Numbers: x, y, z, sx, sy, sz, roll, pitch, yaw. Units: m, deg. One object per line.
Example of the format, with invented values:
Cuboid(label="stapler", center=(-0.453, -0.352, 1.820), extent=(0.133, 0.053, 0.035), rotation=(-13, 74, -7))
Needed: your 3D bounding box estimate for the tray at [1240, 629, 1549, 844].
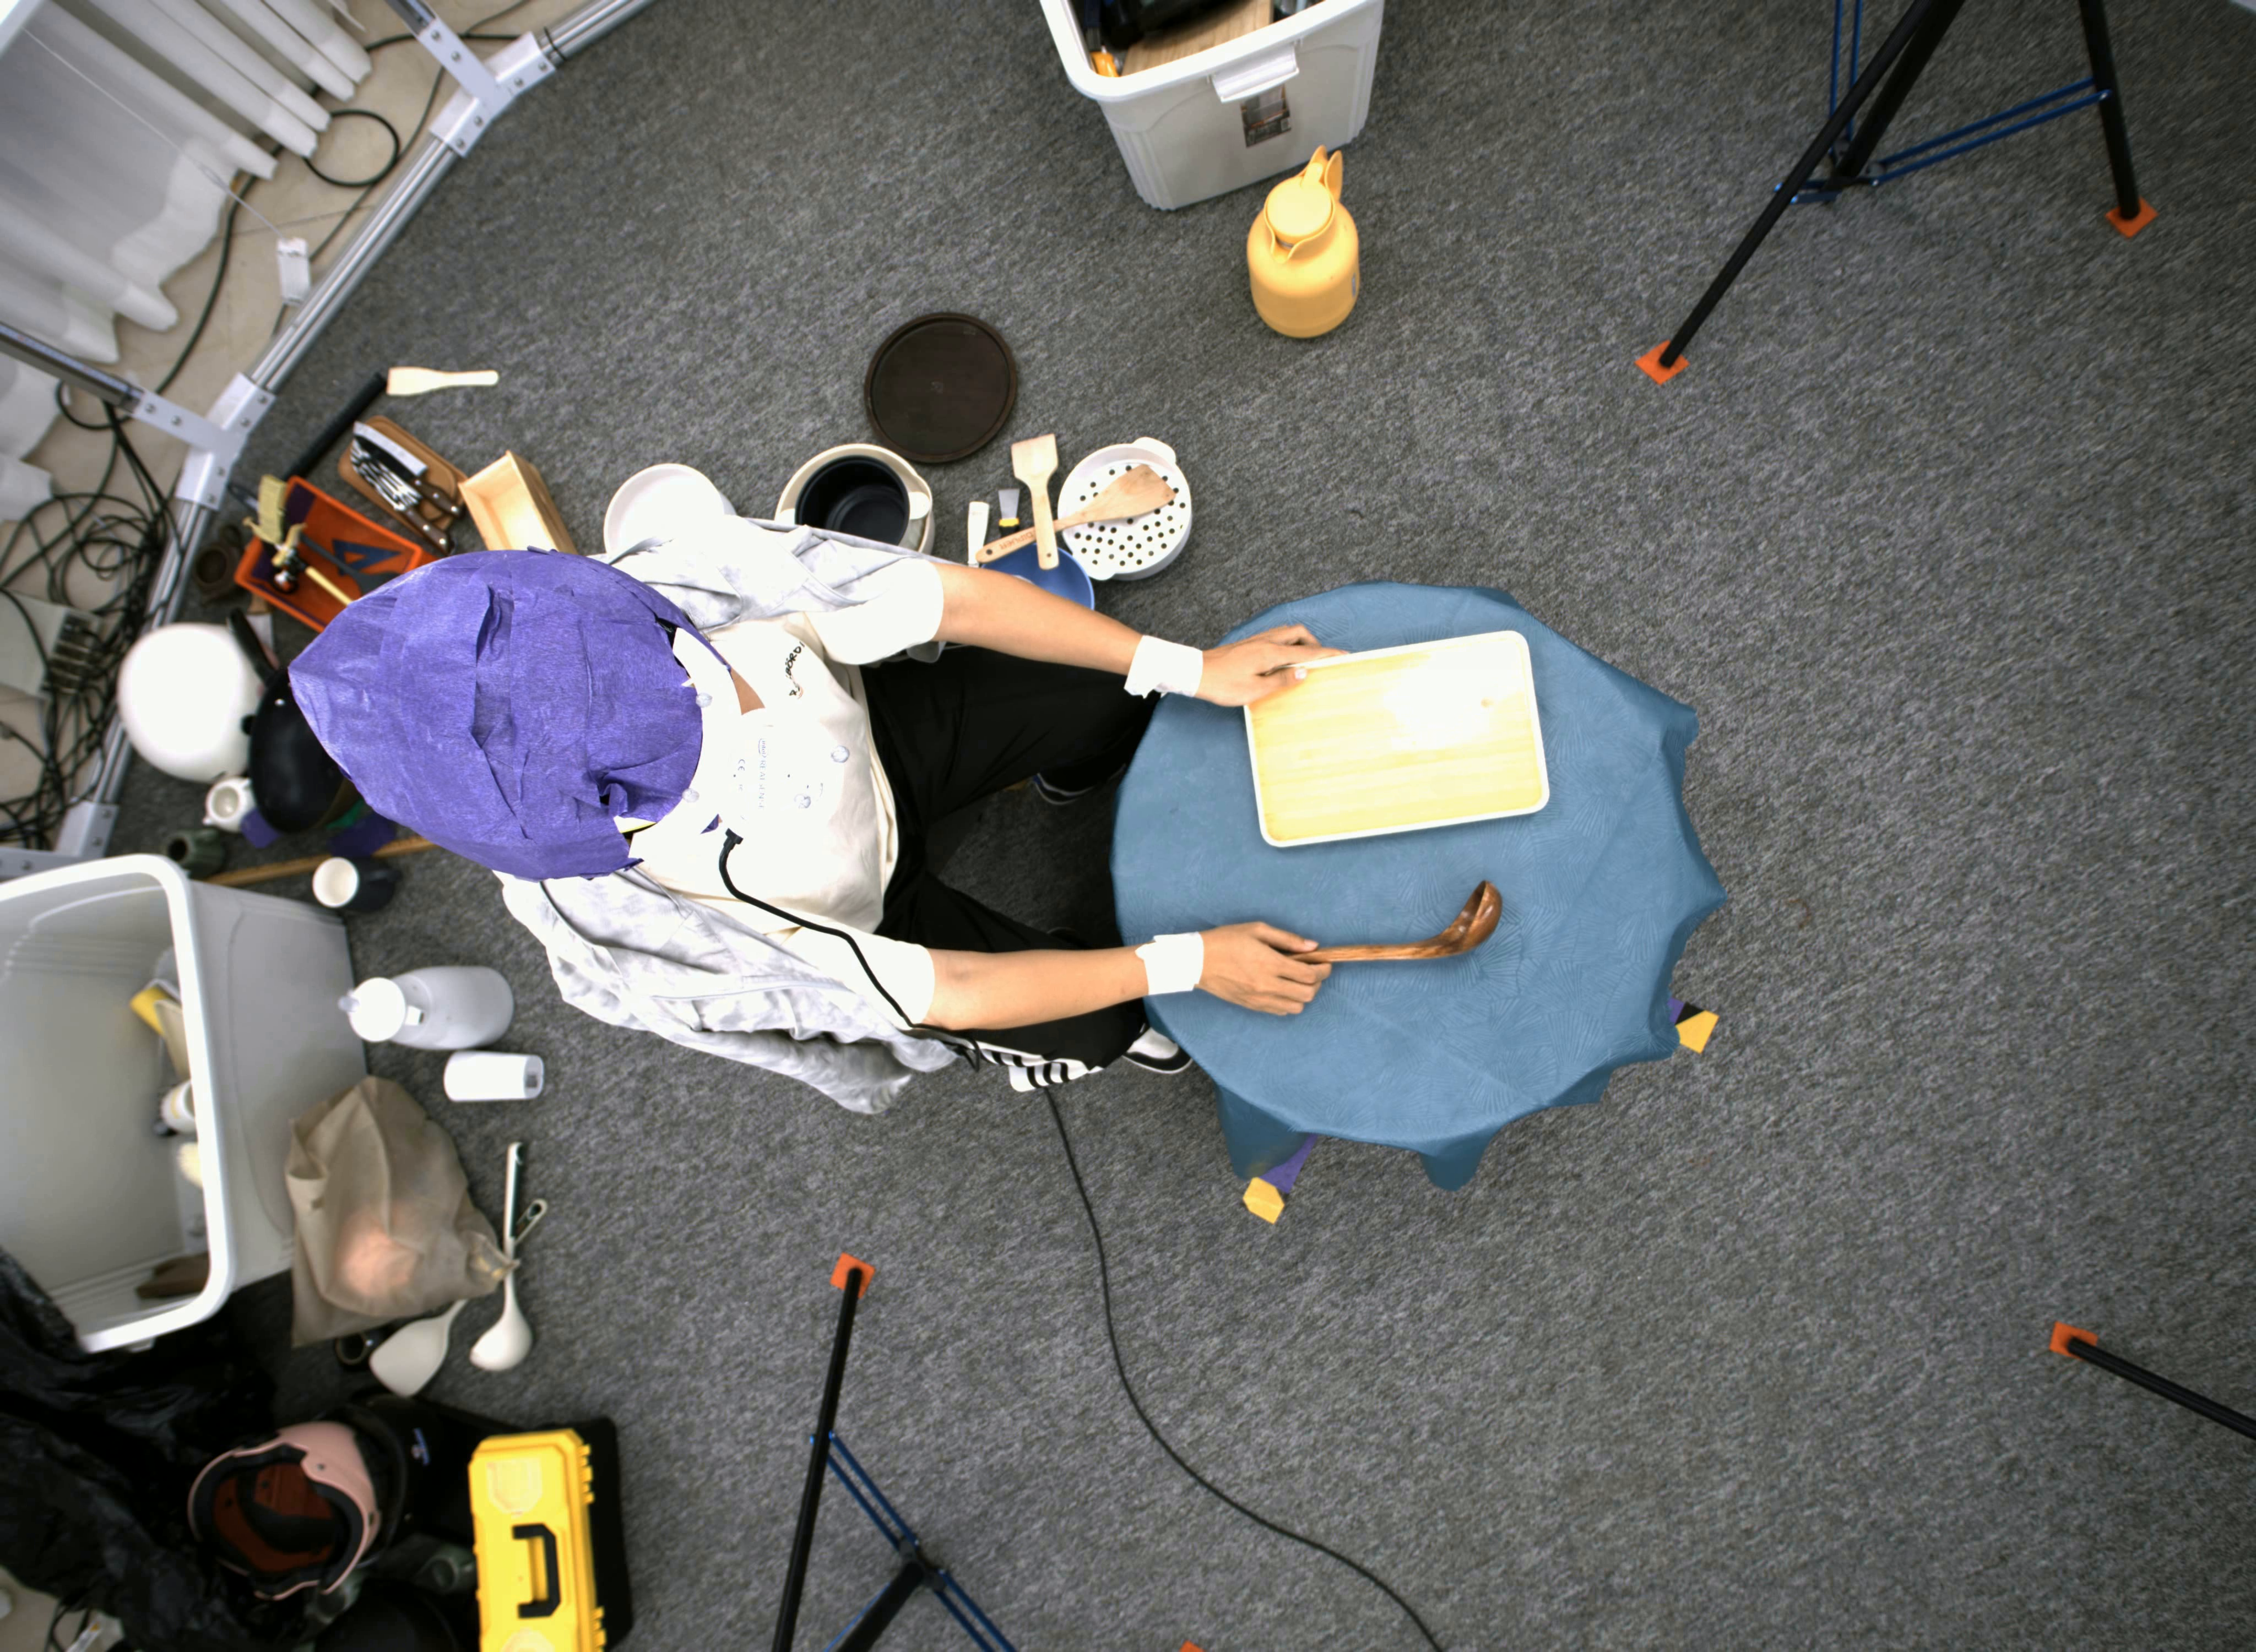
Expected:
Cuboid(label="tray", center=(0.278, -0.094, 1.443), extent=(0.302, 0.027, 0.191), rotation=(-8, 91, 10))

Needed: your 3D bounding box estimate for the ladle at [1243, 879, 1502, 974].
Cuboid(label="ladle", center=(0.248, 0.103, 1.428), extent=(0.276, 0.081, 0.077), rotation=(-7, 98, 15))
